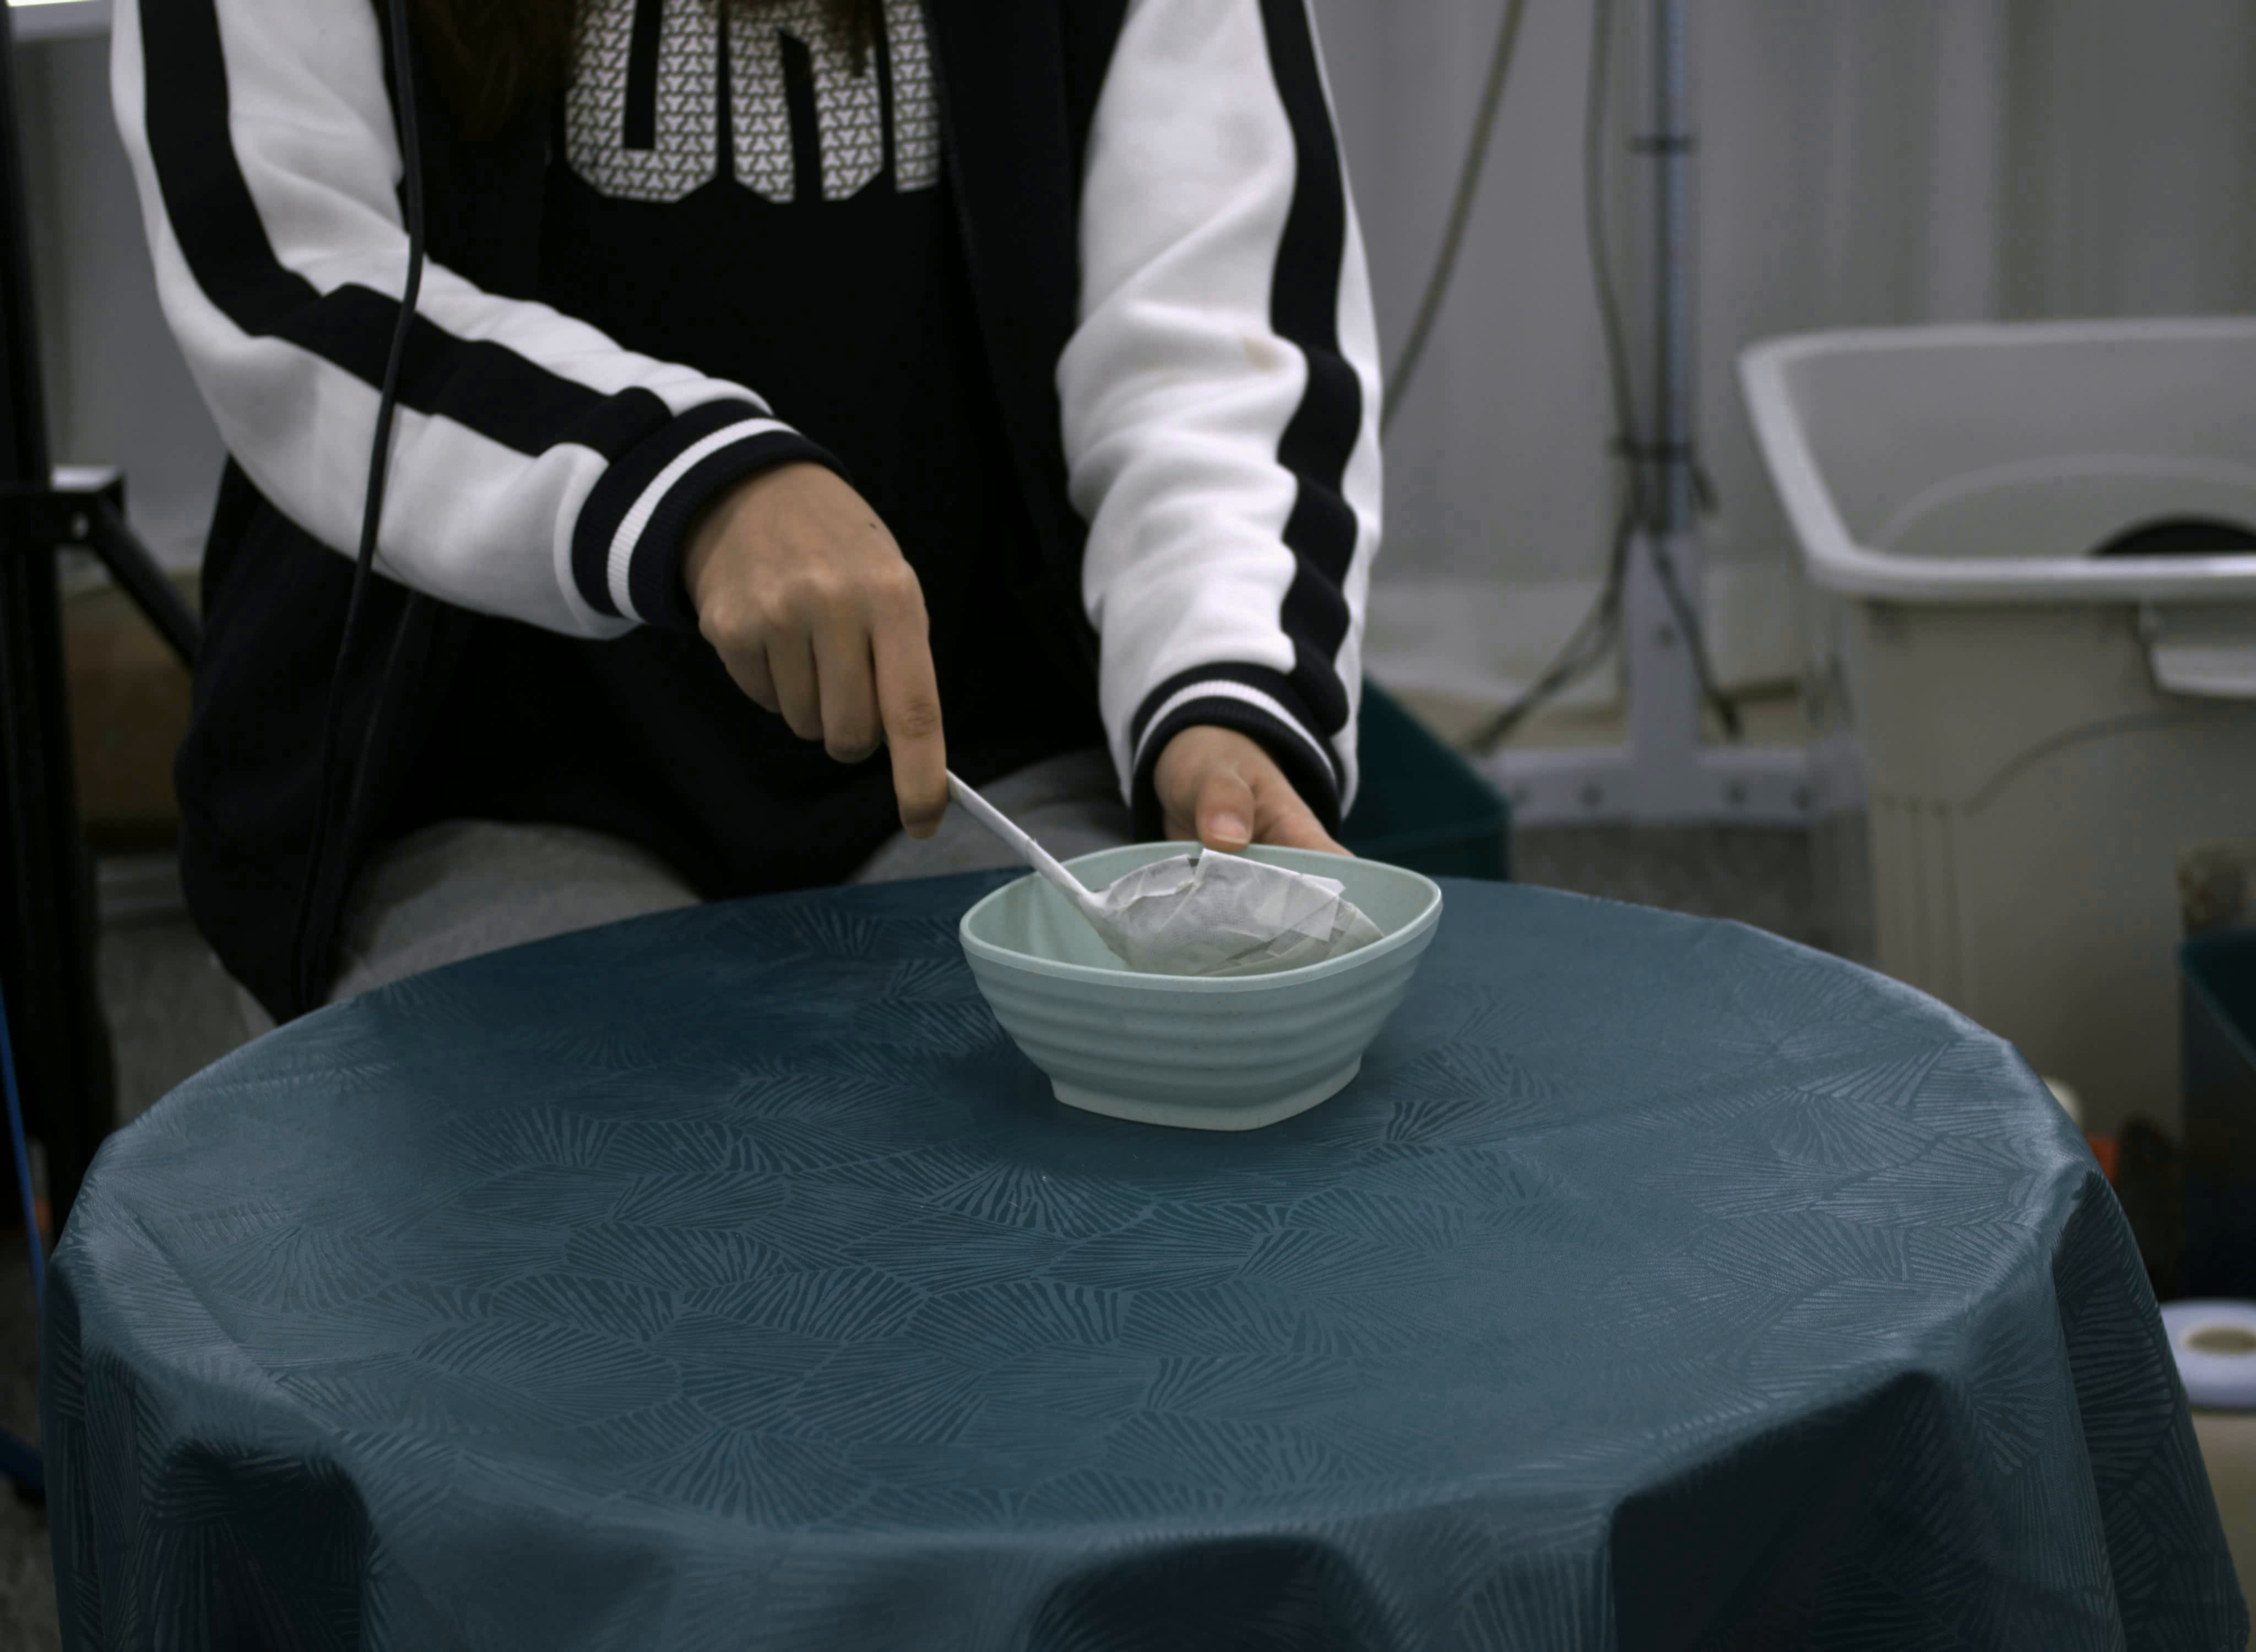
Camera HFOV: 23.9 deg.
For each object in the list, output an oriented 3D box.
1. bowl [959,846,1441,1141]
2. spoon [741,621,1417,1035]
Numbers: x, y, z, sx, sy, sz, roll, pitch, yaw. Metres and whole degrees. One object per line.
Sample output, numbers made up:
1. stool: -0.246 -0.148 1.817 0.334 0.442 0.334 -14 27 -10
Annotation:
1. bowl: 0.023 0.055 1.645 0.150 0.058 0.152 -2 16 -1
2. spoon: -0.020 -0.008 1.706 0.059 0.099 0.284 -36 49 -19
